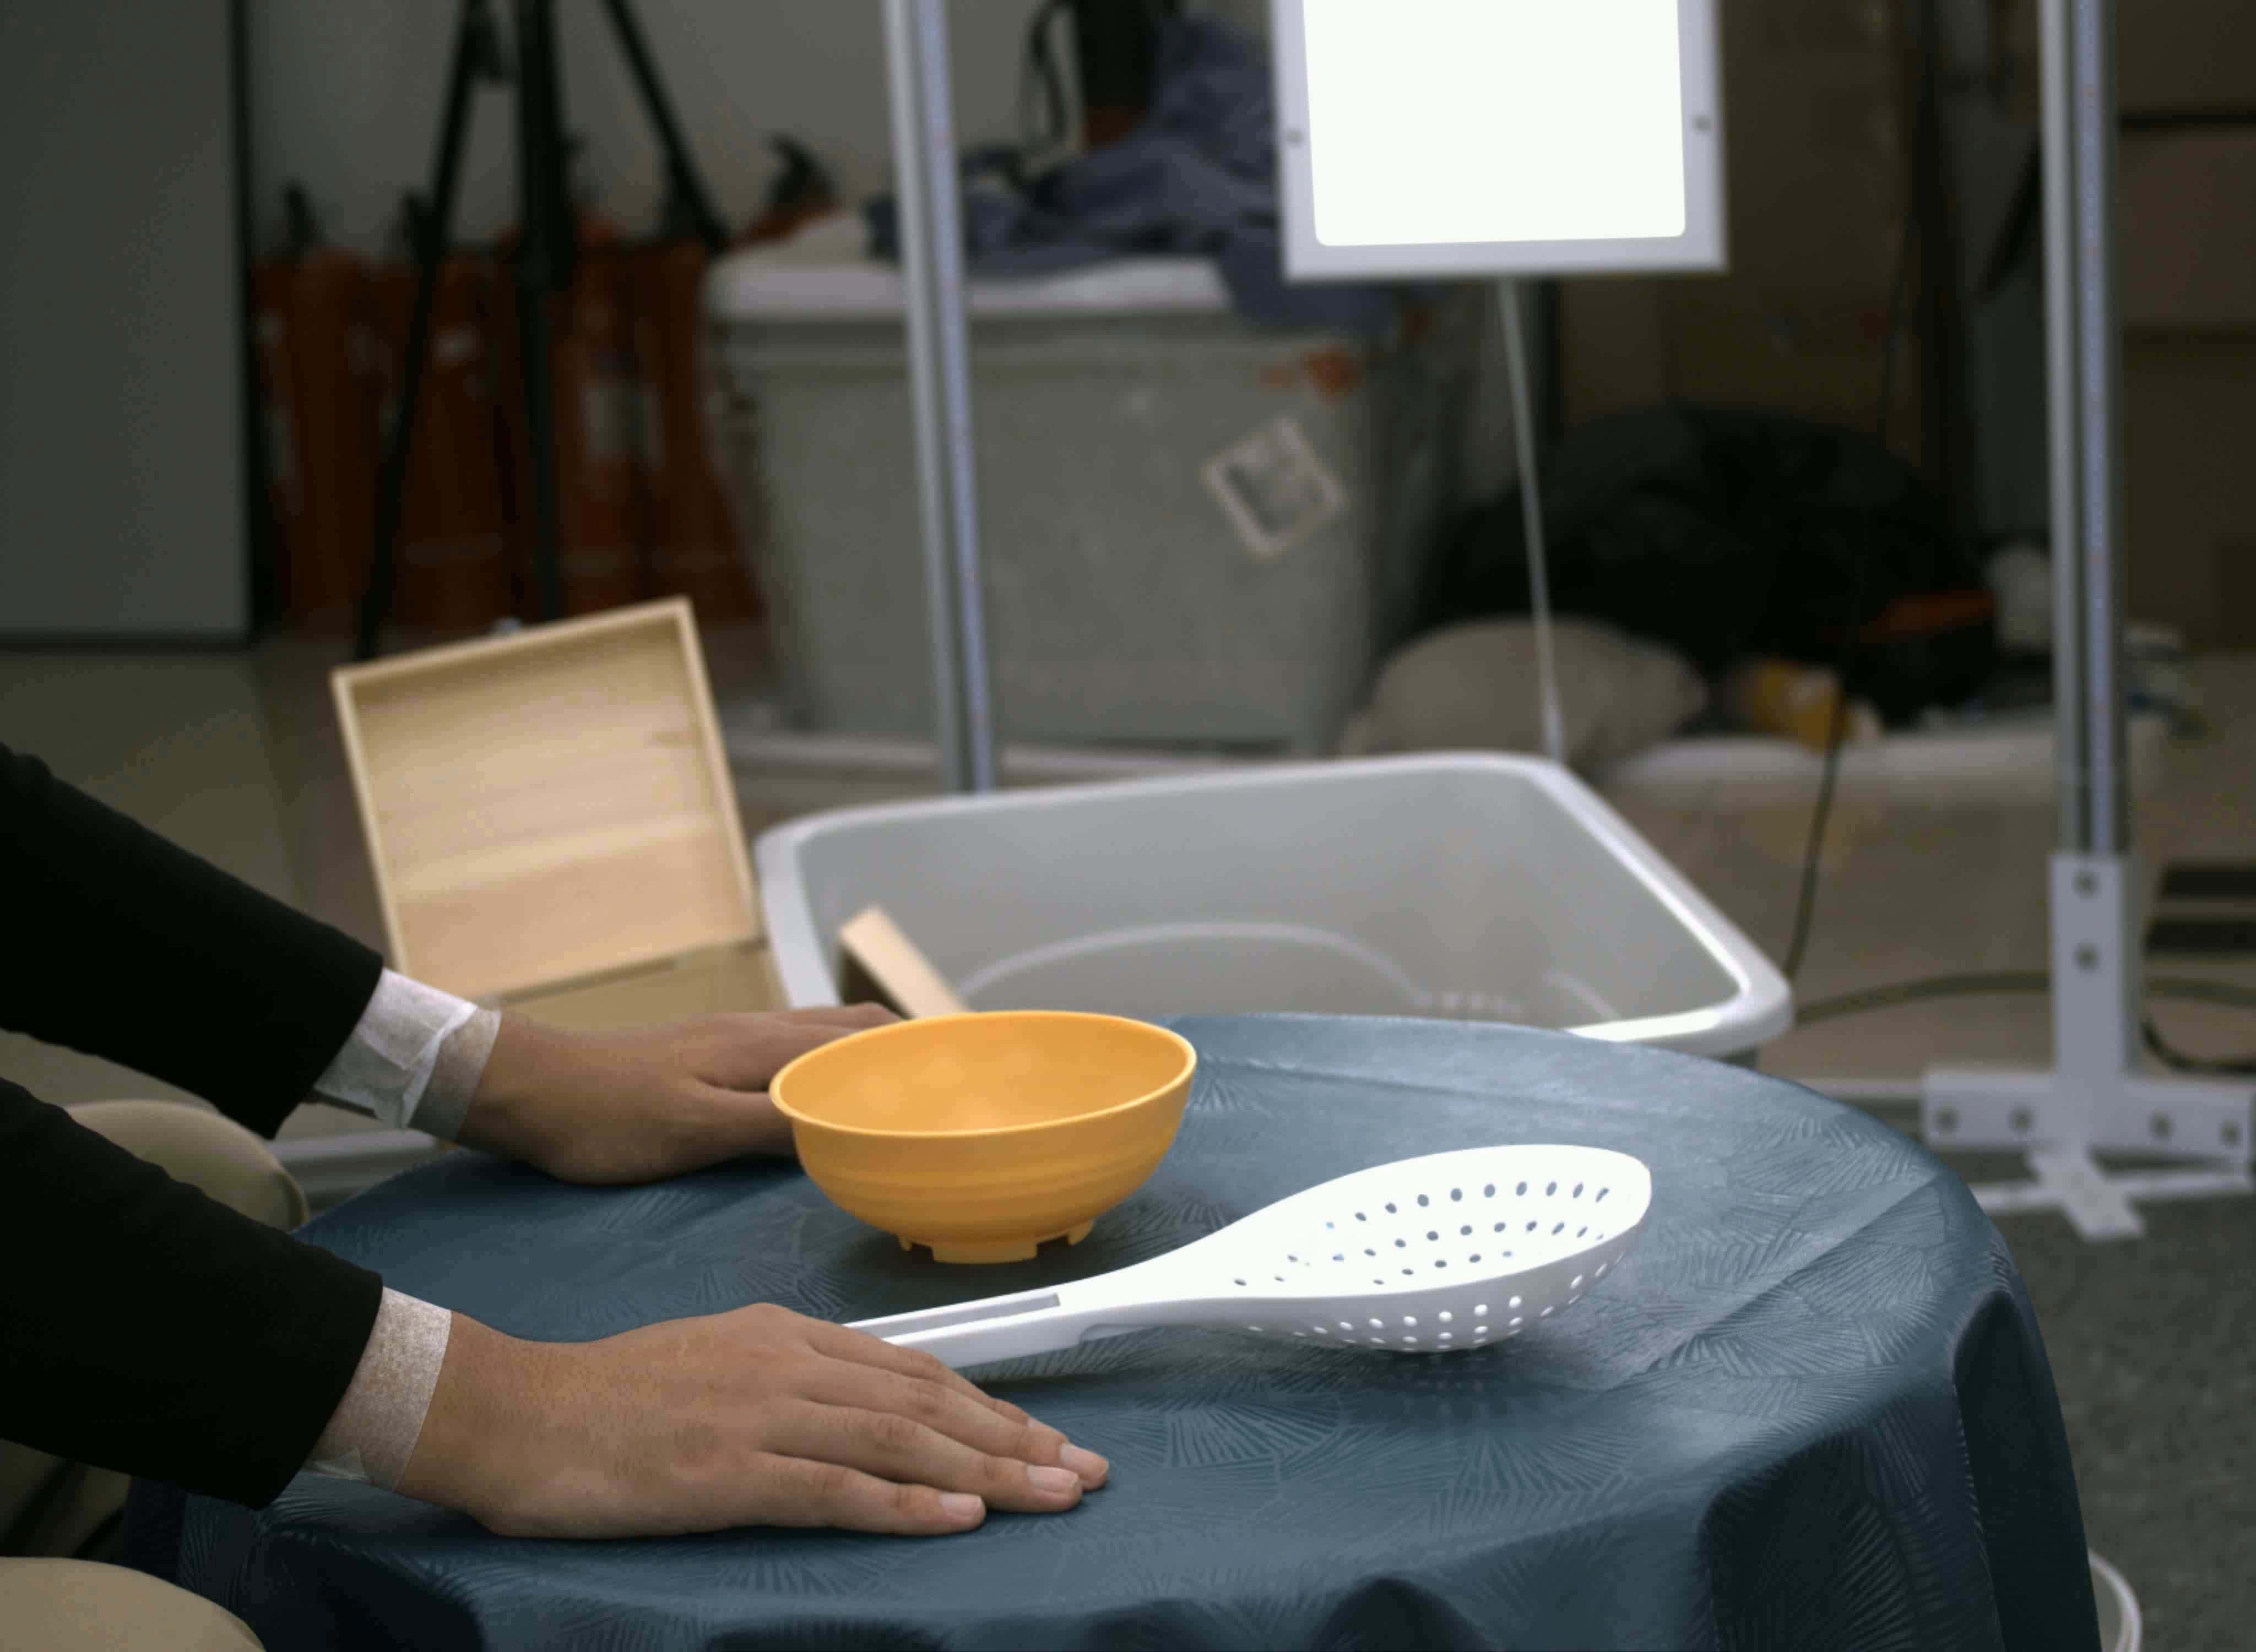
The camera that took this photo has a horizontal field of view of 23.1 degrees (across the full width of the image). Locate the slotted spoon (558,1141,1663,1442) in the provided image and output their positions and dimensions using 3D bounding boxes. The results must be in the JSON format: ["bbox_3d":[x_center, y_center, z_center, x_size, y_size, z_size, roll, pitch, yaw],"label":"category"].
[{"bbox_3d":[-0.005,0.149,1.713,0.348,0.046,0.136,-7,13,-2],"label":"slotted spoon"}]

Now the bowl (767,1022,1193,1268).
[{"bbox_3d":[-0.049,0.112,1.859,0.145,0.060,0.145,-4,12,-1],"label":"bowl"}]
